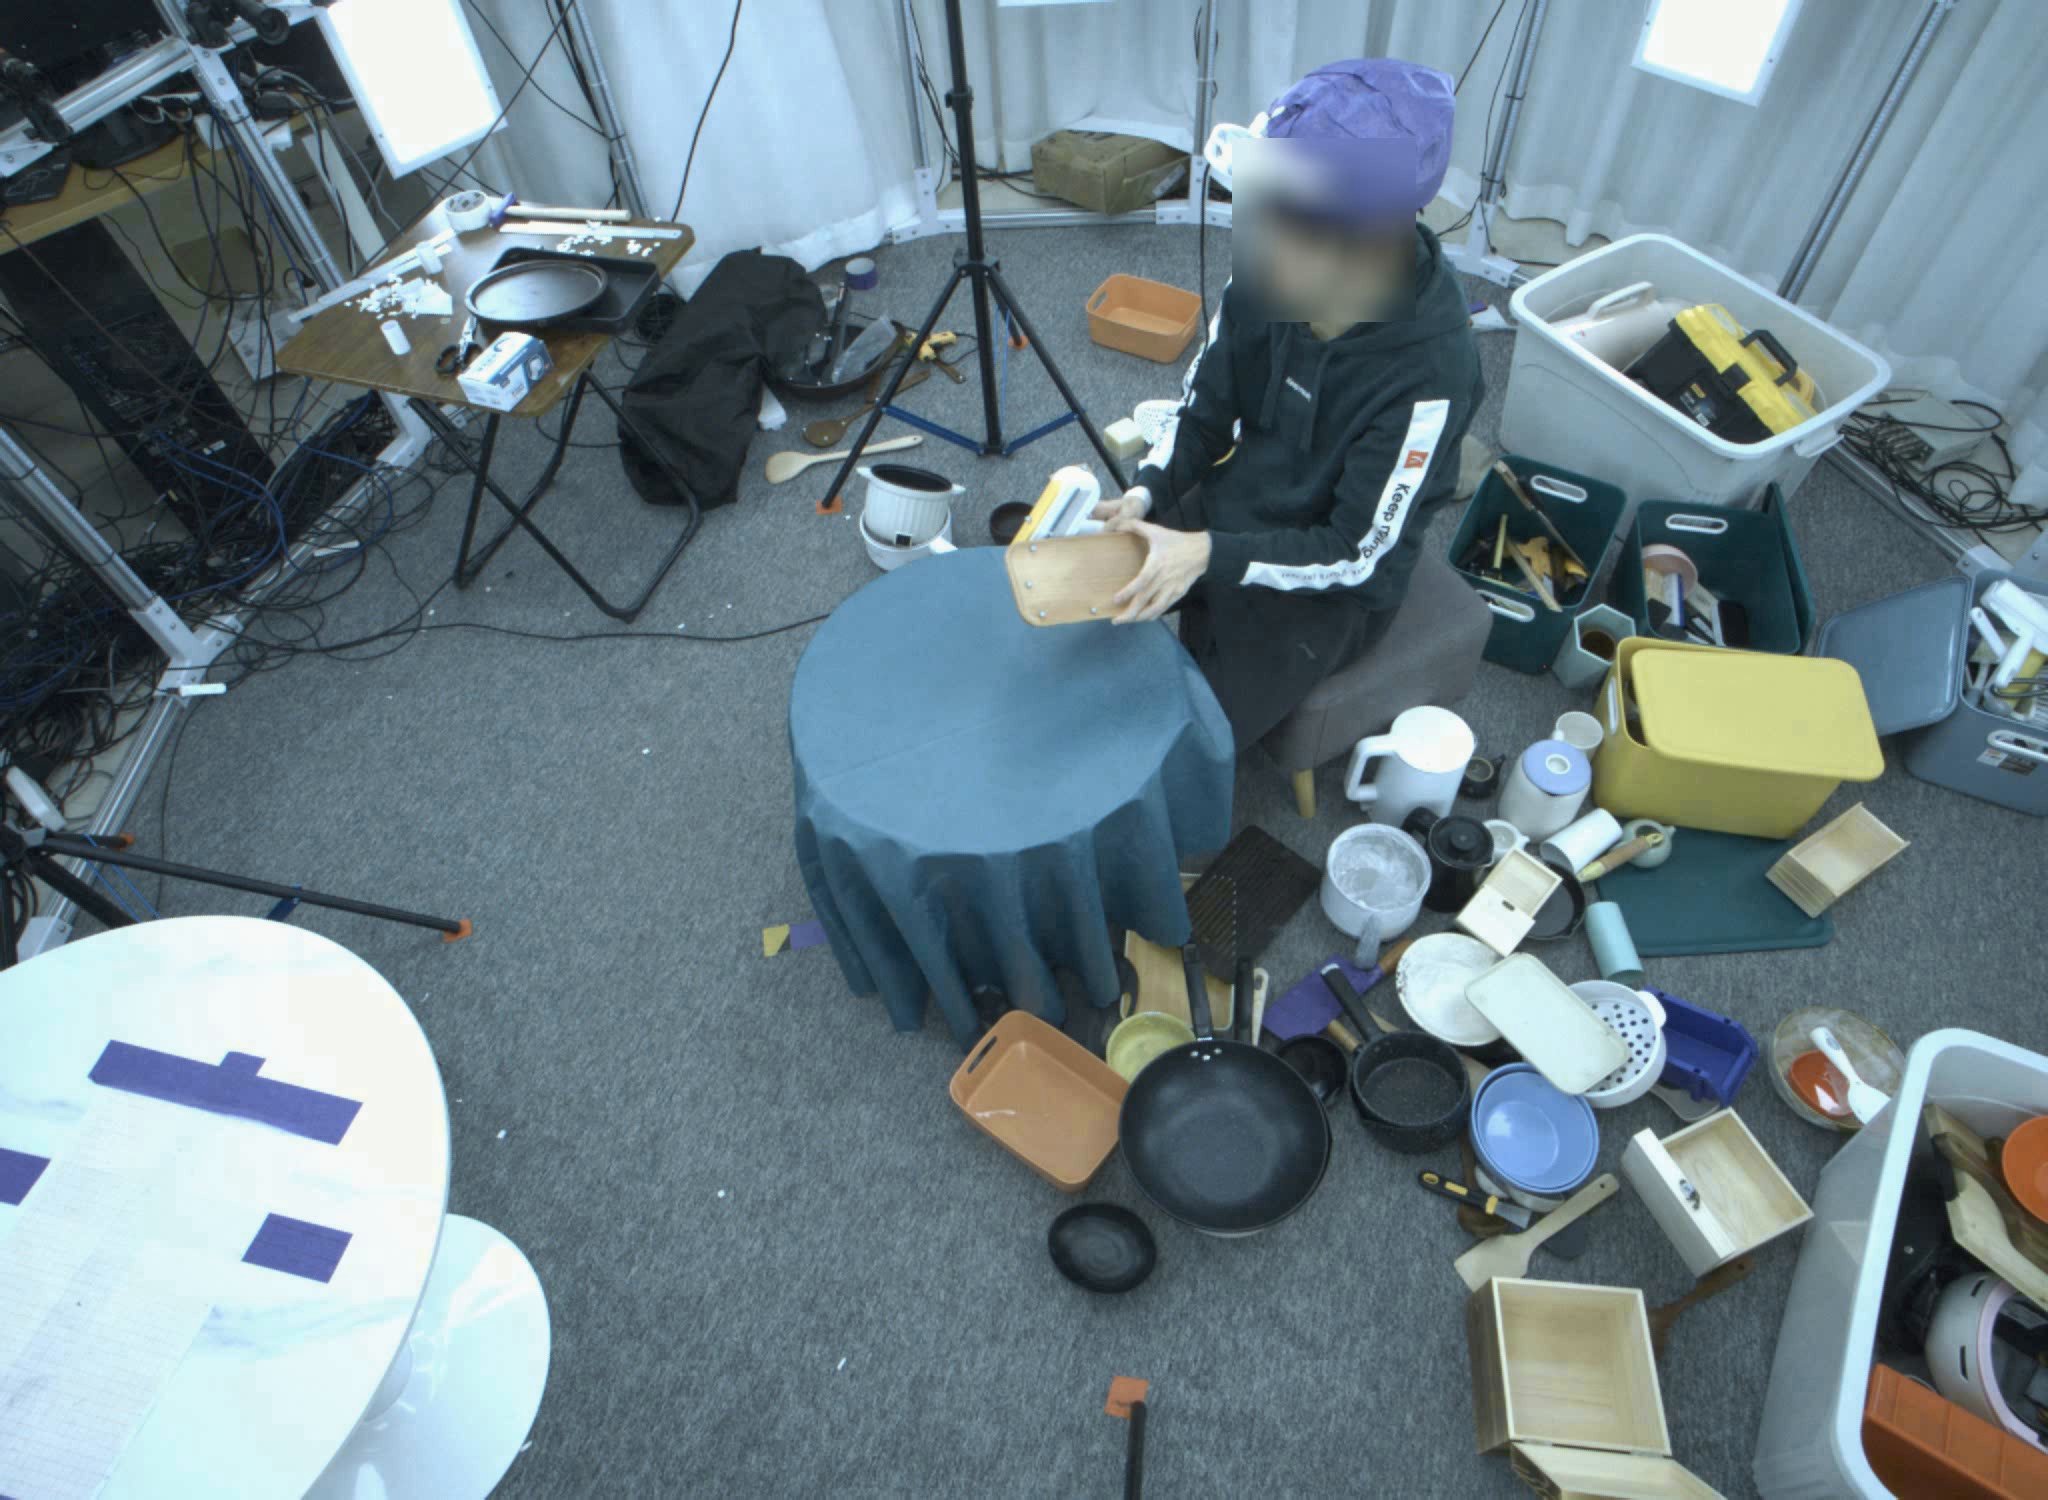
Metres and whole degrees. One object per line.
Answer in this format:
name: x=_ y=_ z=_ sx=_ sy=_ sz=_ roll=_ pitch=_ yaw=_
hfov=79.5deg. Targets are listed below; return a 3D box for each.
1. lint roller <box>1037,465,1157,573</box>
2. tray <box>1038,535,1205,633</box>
lint roller: x=0.129 y=-0.315 z=1.784 sx=0.197 sy=0.192 sz=0.072 roll=13 pitch=33 yaw=-40
tray: x=0.139 y=-0.236 z=1.737 sx=0.255 sy=0.022 sz=0.130 roll=-9 pitch=84 yaw=-27
